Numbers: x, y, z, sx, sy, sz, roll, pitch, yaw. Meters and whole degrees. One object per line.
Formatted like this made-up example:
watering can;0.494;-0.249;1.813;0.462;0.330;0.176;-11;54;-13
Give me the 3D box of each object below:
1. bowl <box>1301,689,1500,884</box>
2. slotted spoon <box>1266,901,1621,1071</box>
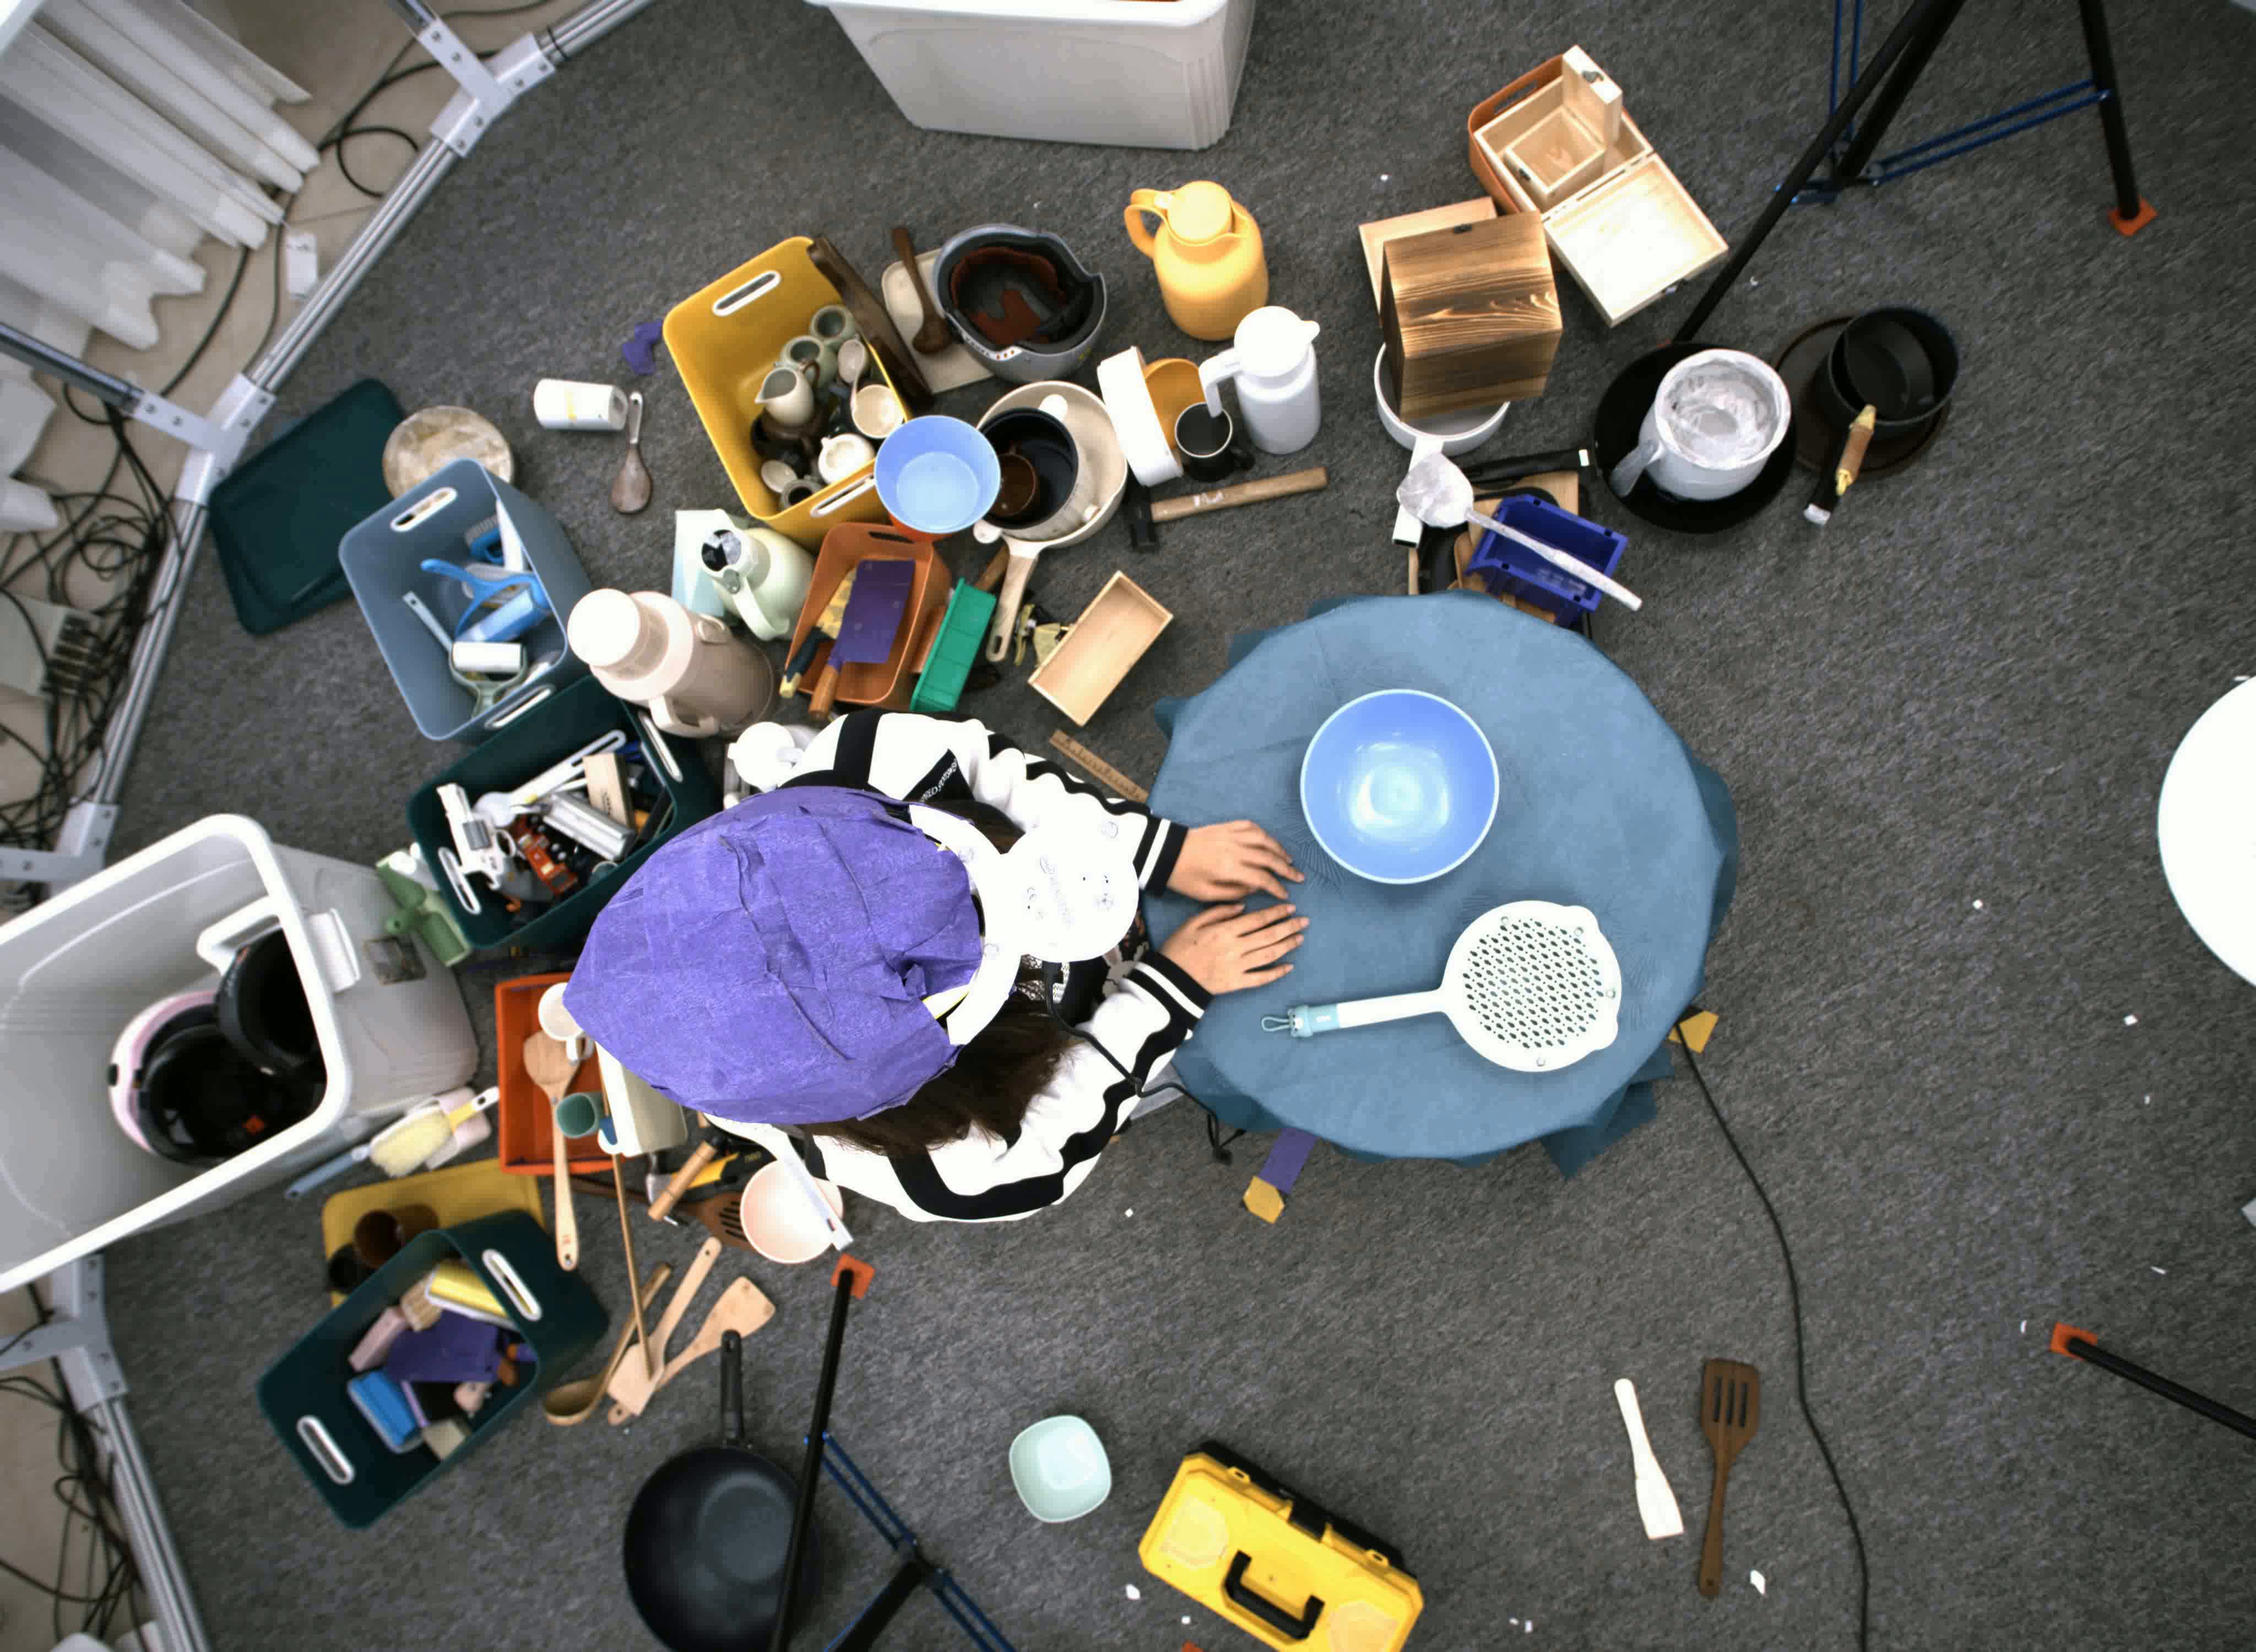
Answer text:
bowl;0.278;-0.037;1.417;0.197;0.095;0.196;-1;87;10
slotted spoon;0.315;0.176;1.416;0.361;0.075;0.168;-10;84;11
